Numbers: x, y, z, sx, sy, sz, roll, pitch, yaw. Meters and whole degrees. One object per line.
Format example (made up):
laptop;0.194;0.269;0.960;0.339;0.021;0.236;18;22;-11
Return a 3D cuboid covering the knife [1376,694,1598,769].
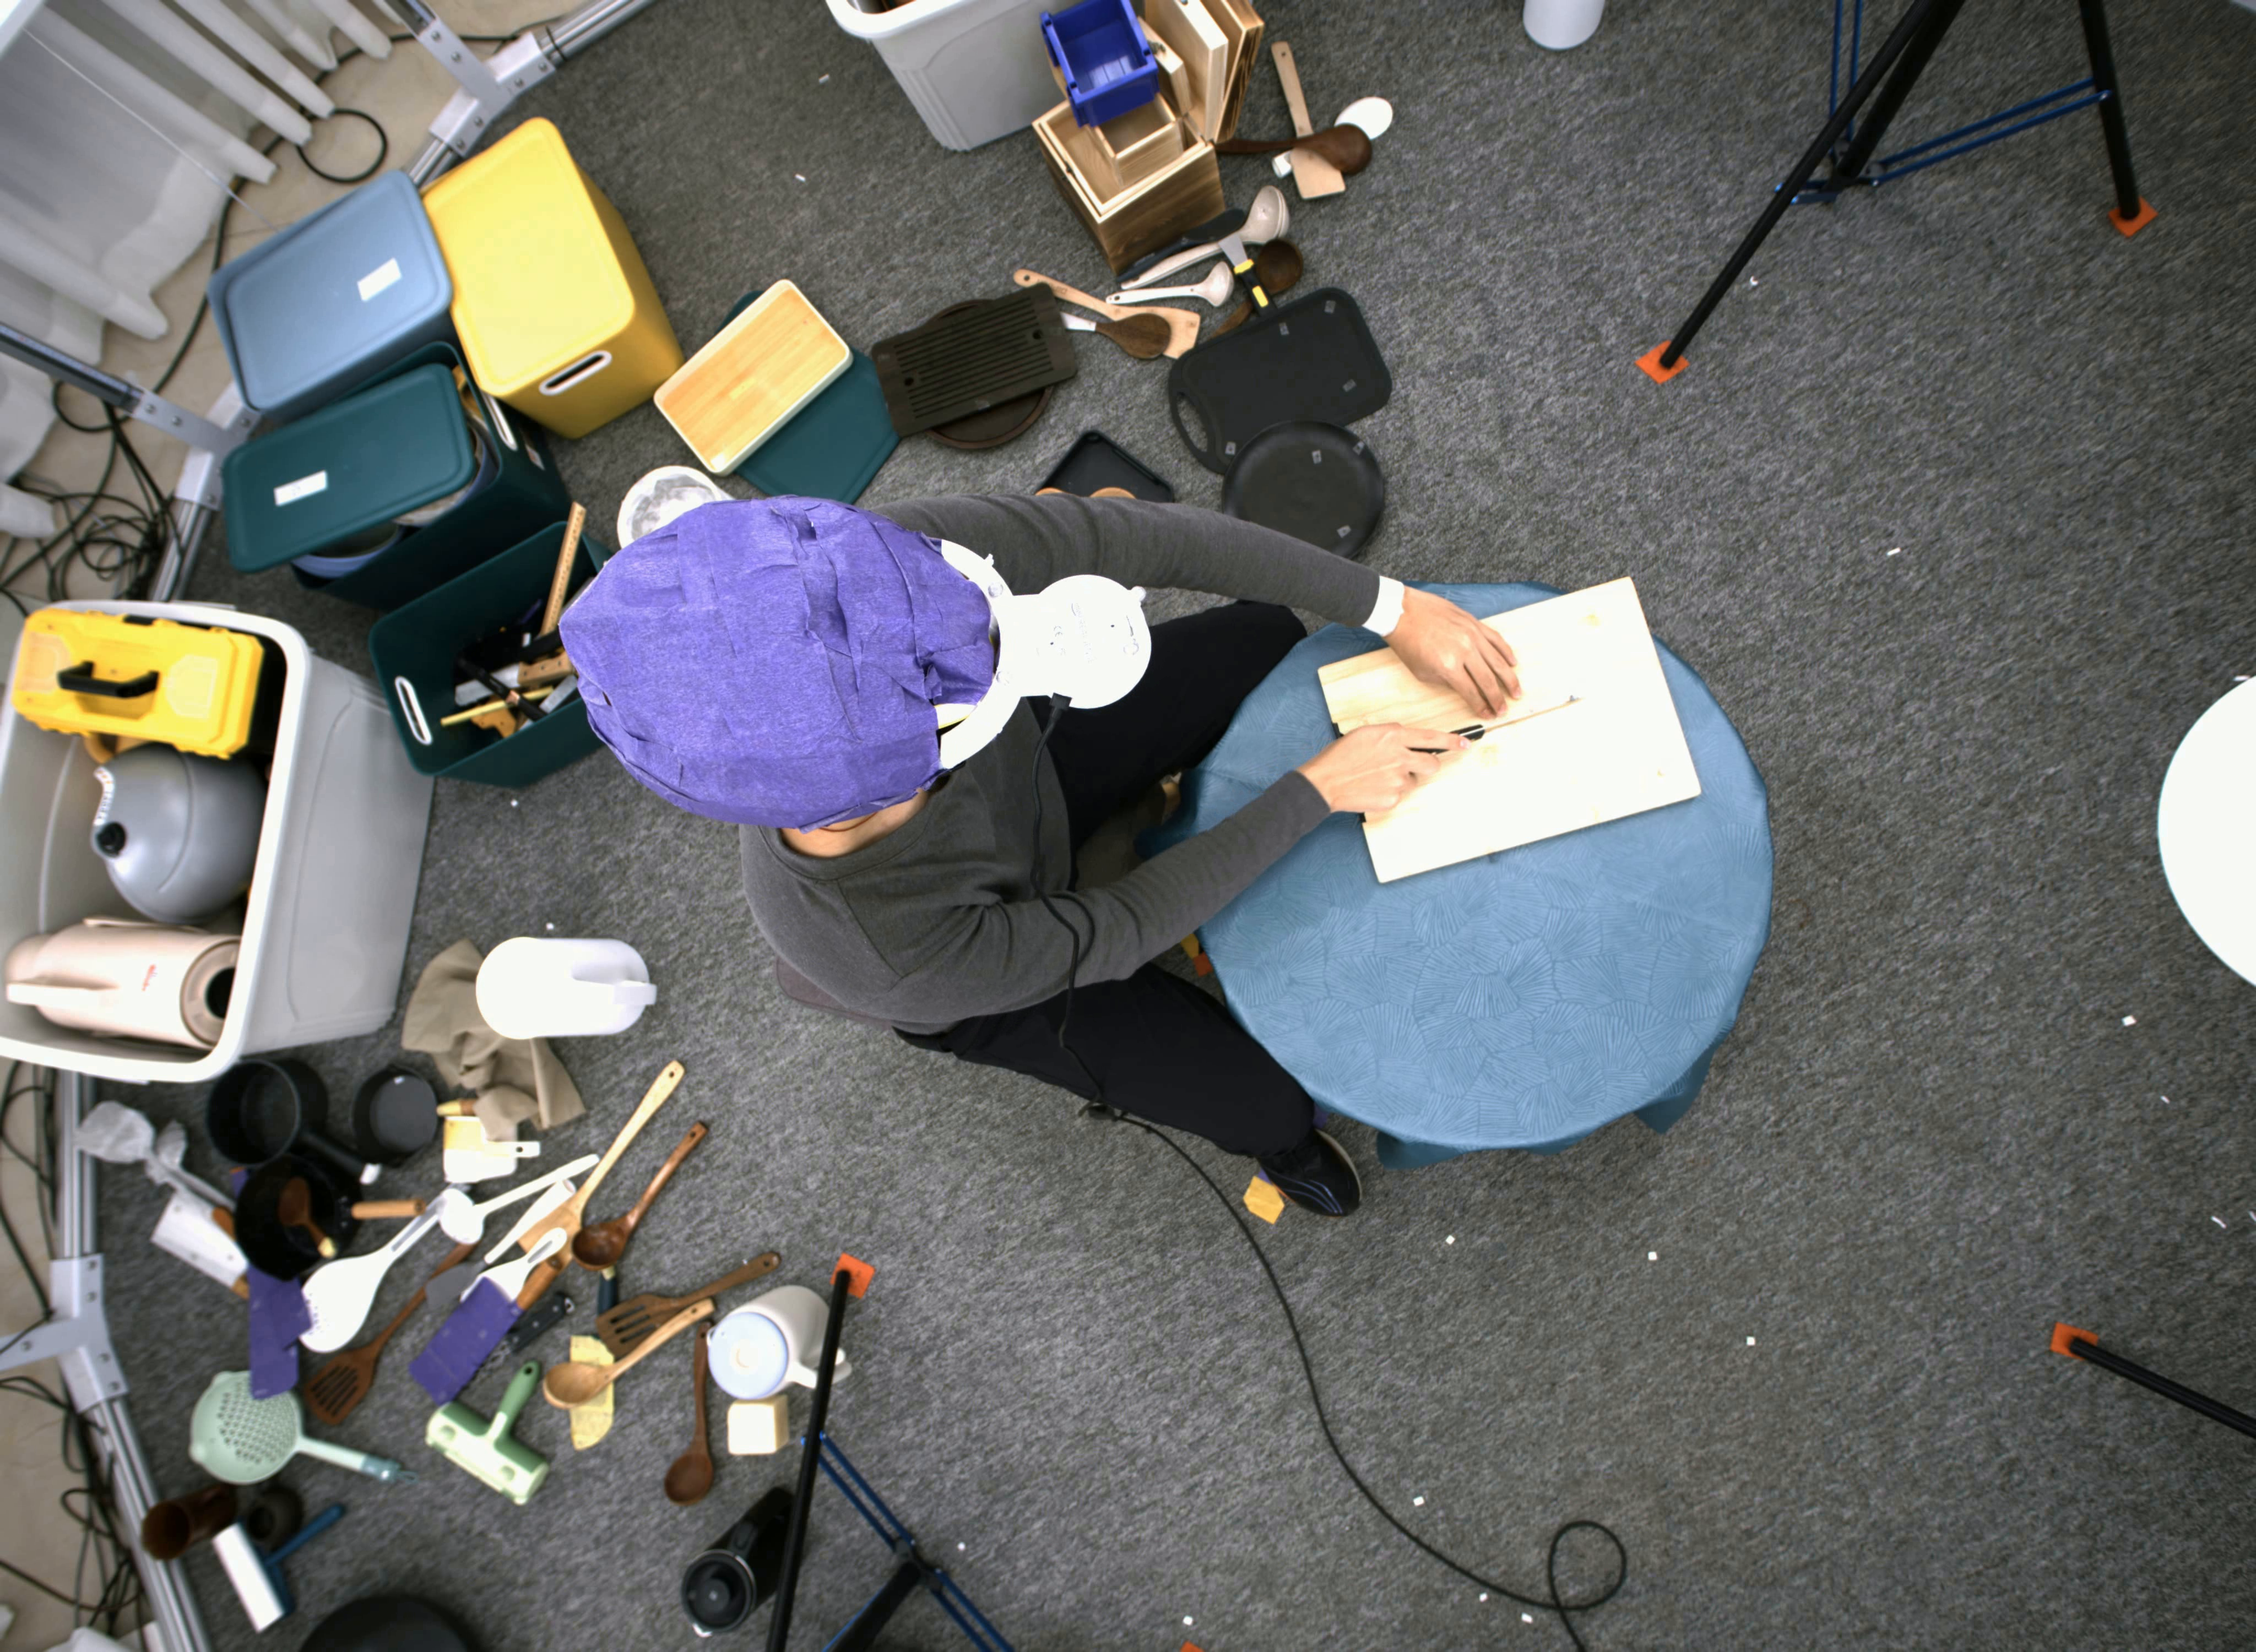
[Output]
knife;0.368;-0.102;1.399;0.239;0.024;0.016;-18;84;2

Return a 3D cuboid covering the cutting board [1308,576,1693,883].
cutting board;0.390;-0.102;1.438;0.350;0.023;0.249;-17;84;9
